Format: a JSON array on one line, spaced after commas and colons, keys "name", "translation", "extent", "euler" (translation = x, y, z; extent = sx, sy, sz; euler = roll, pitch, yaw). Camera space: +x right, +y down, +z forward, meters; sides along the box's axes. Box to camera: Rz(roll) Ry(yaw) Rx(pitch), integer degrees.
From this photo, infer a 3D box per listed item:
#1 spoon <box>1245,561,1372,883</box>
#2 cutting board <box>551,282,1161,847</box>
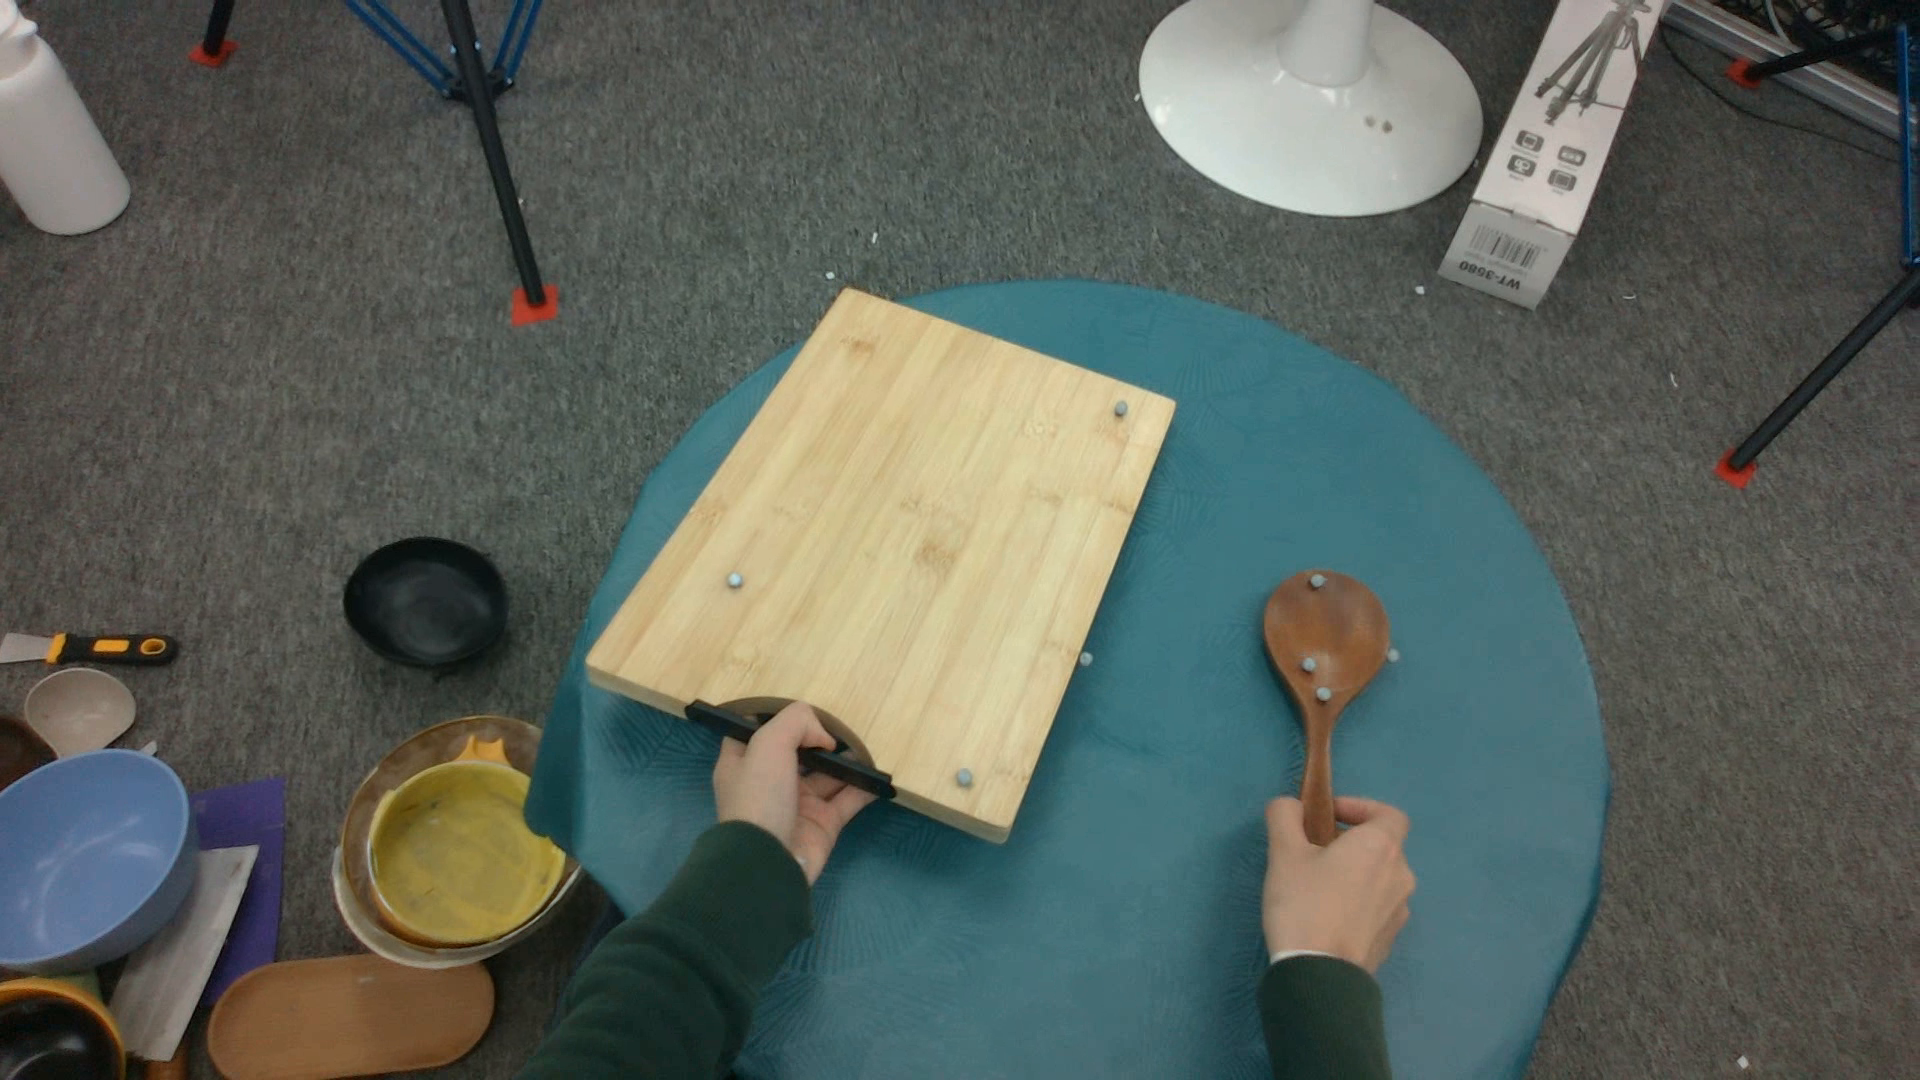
[{"name": "spoon", "translation": [0.195, 0.096, 0.781], "extent": [0.075, 0.017, 0.217], "euler": [10, 49, 6]}, {"name": "cutting board", "translation": [-0.040, -0.009, 0.812], "extent": [0.250, 0.023, 0.350], "euler": [19, 50, 7]}]
